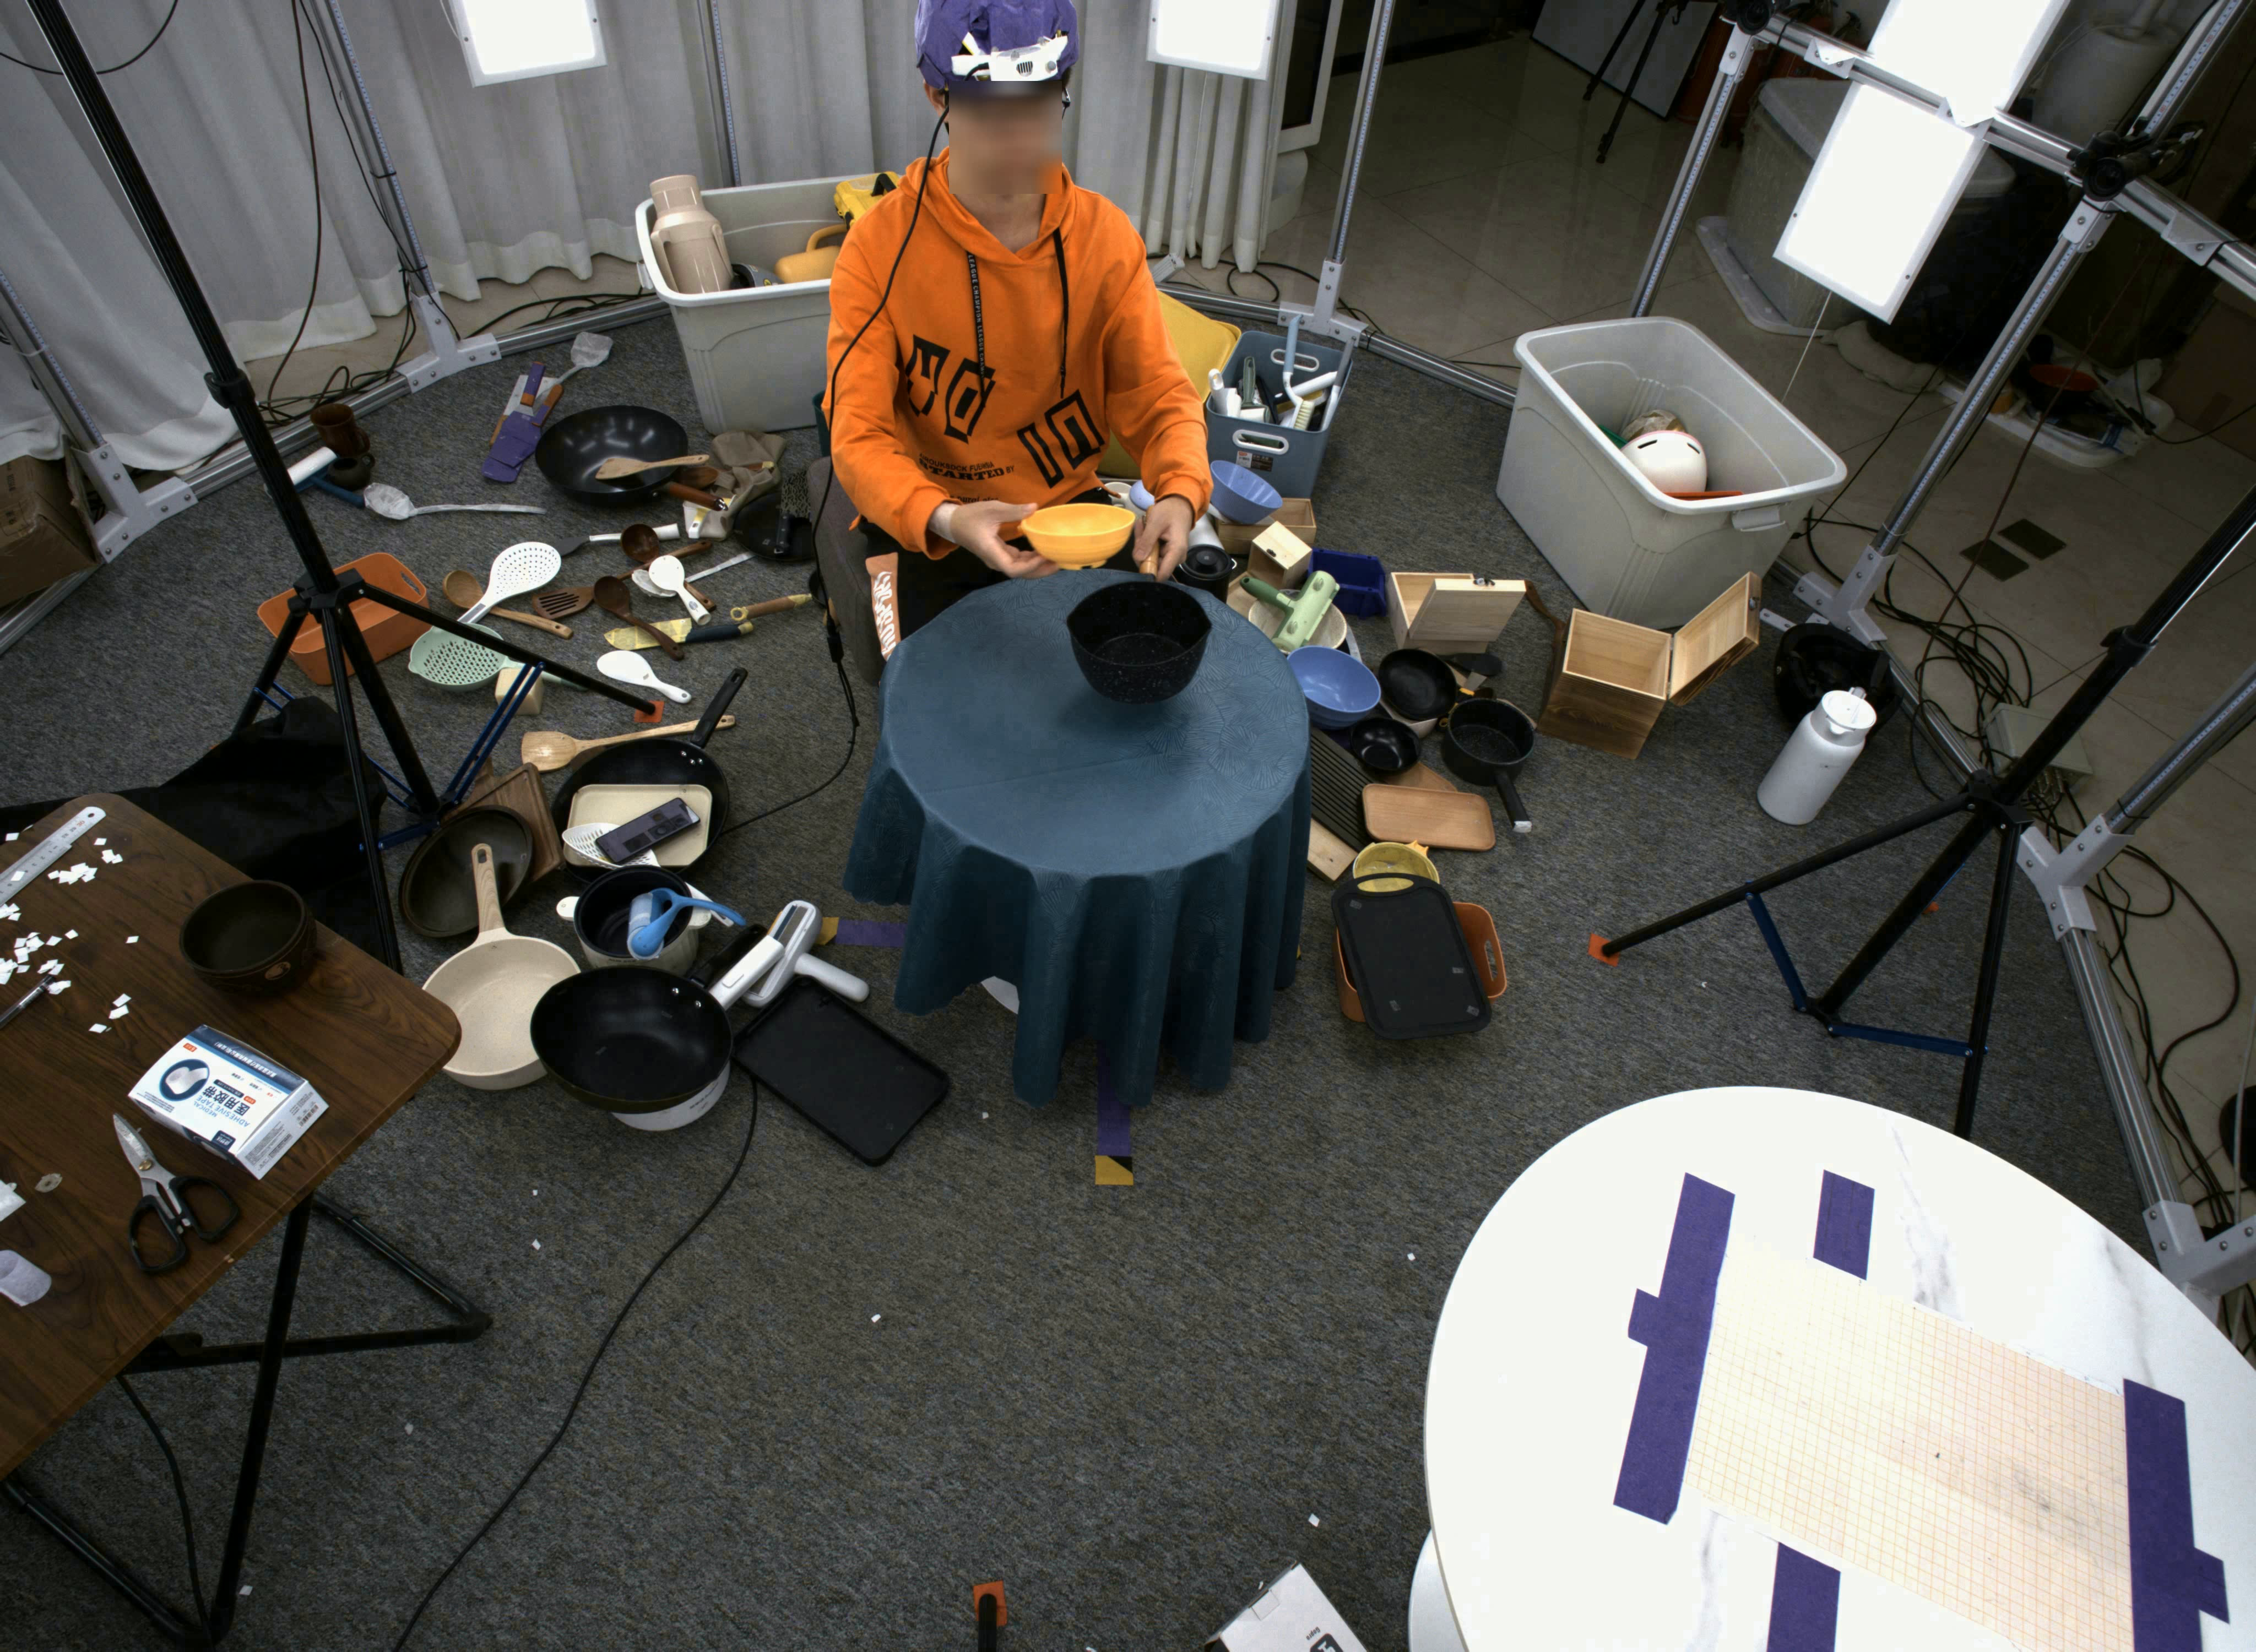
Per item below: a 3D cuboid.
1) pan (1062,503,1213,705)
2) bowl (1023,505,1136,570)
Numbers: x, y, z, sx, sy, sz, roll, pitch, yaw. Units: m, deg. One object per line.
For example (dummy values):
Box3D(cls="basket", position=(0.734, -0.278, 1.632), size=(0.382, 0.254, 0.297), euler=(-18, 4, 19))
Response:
Box3D(cls="pan", position=(0.021, -0.312, 1.805), size=(0.207, 0.105, 0.351), euler=(2, 47, 6))
Box3D(cls="bowl", position=(-0.061, -0.370, 1.667), size=(0.145, 0.059, 0.148), euler=(-1, 26, 0))
